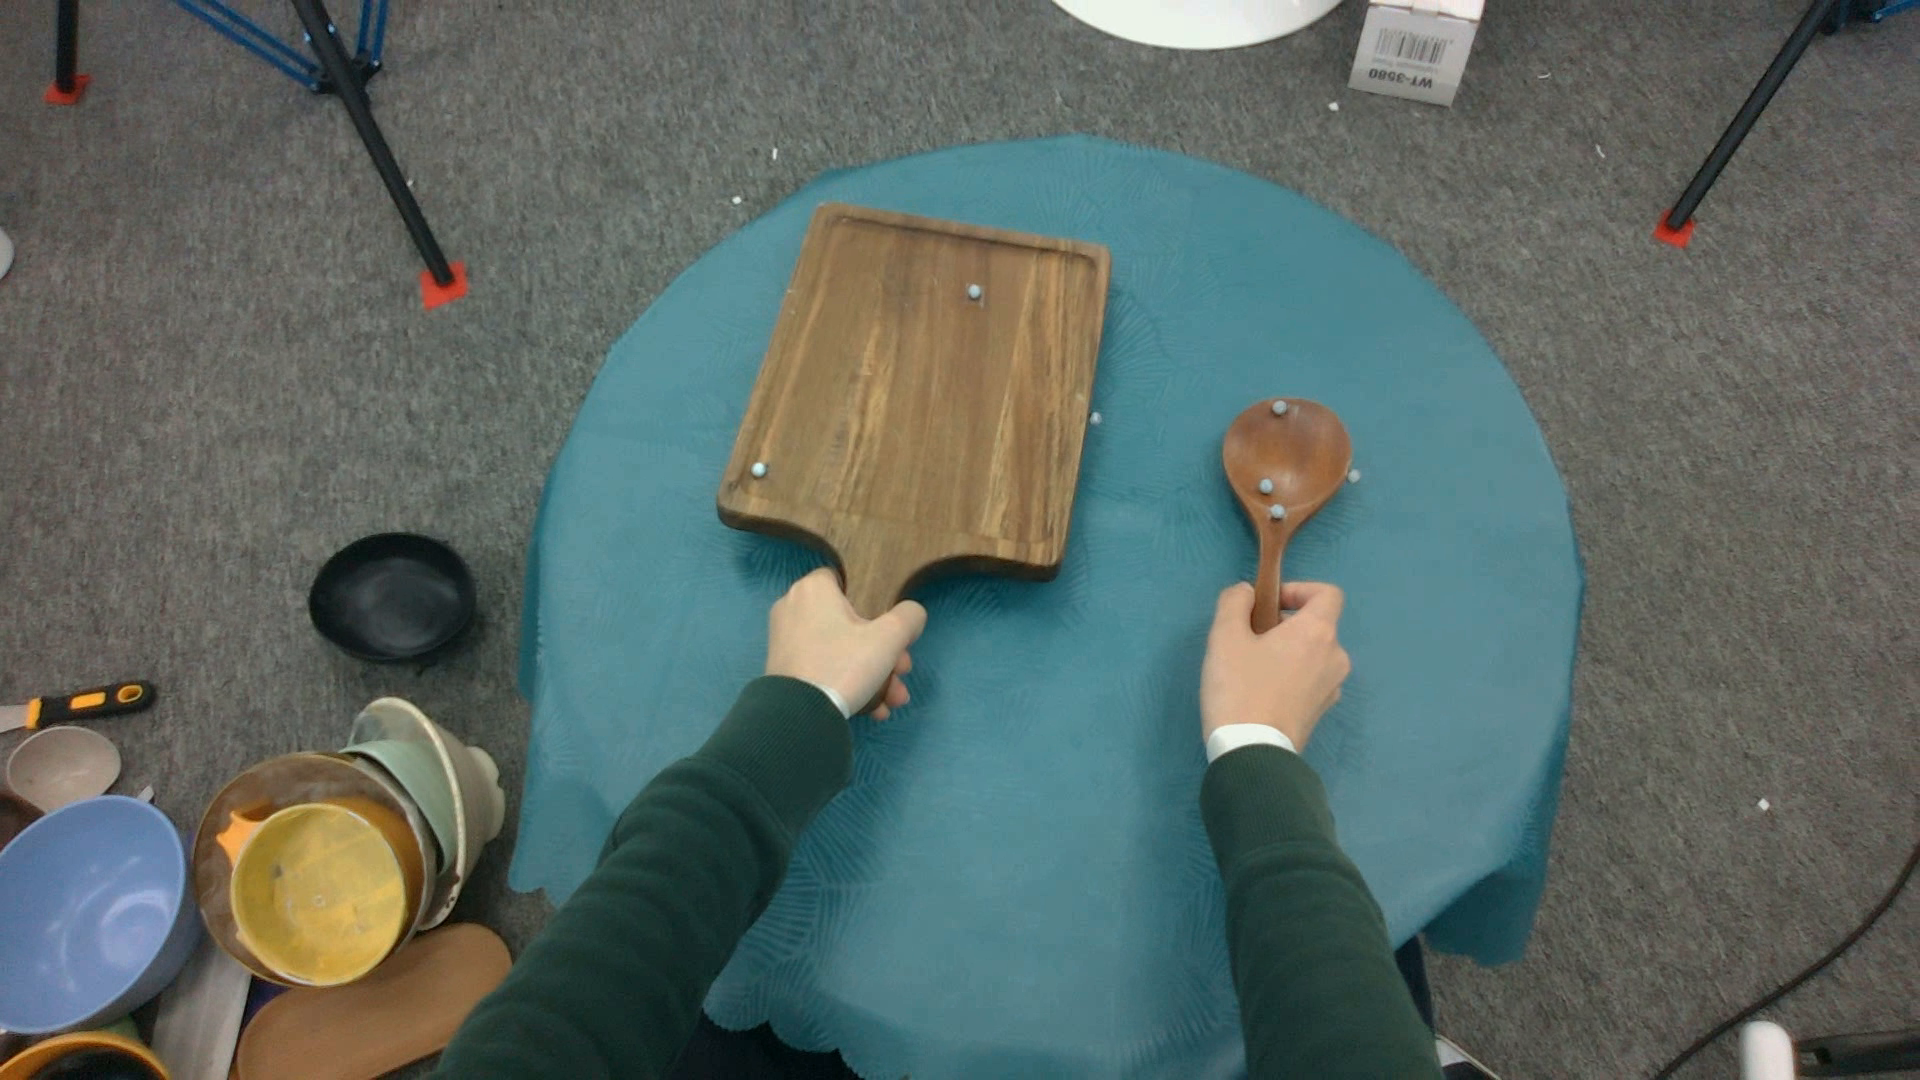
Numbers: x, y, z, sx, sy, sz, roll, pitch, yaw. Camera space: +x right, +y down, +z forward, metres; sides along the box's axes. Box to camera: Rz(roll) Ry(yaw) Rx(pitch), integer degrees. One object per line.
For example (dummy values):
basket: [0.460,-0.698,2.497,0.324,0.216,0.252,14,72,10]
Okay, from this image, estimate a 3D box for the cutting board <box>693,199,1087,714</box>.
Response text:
cutting board: [-0.041,-0.060,0.797,0.201,0.023,0.354,10,56,1]

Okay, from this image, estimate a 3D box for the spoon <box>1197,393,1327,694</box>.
spoon: [0.163,-0.004,0.770,0.075,0.017,0.217,9,50,10]
